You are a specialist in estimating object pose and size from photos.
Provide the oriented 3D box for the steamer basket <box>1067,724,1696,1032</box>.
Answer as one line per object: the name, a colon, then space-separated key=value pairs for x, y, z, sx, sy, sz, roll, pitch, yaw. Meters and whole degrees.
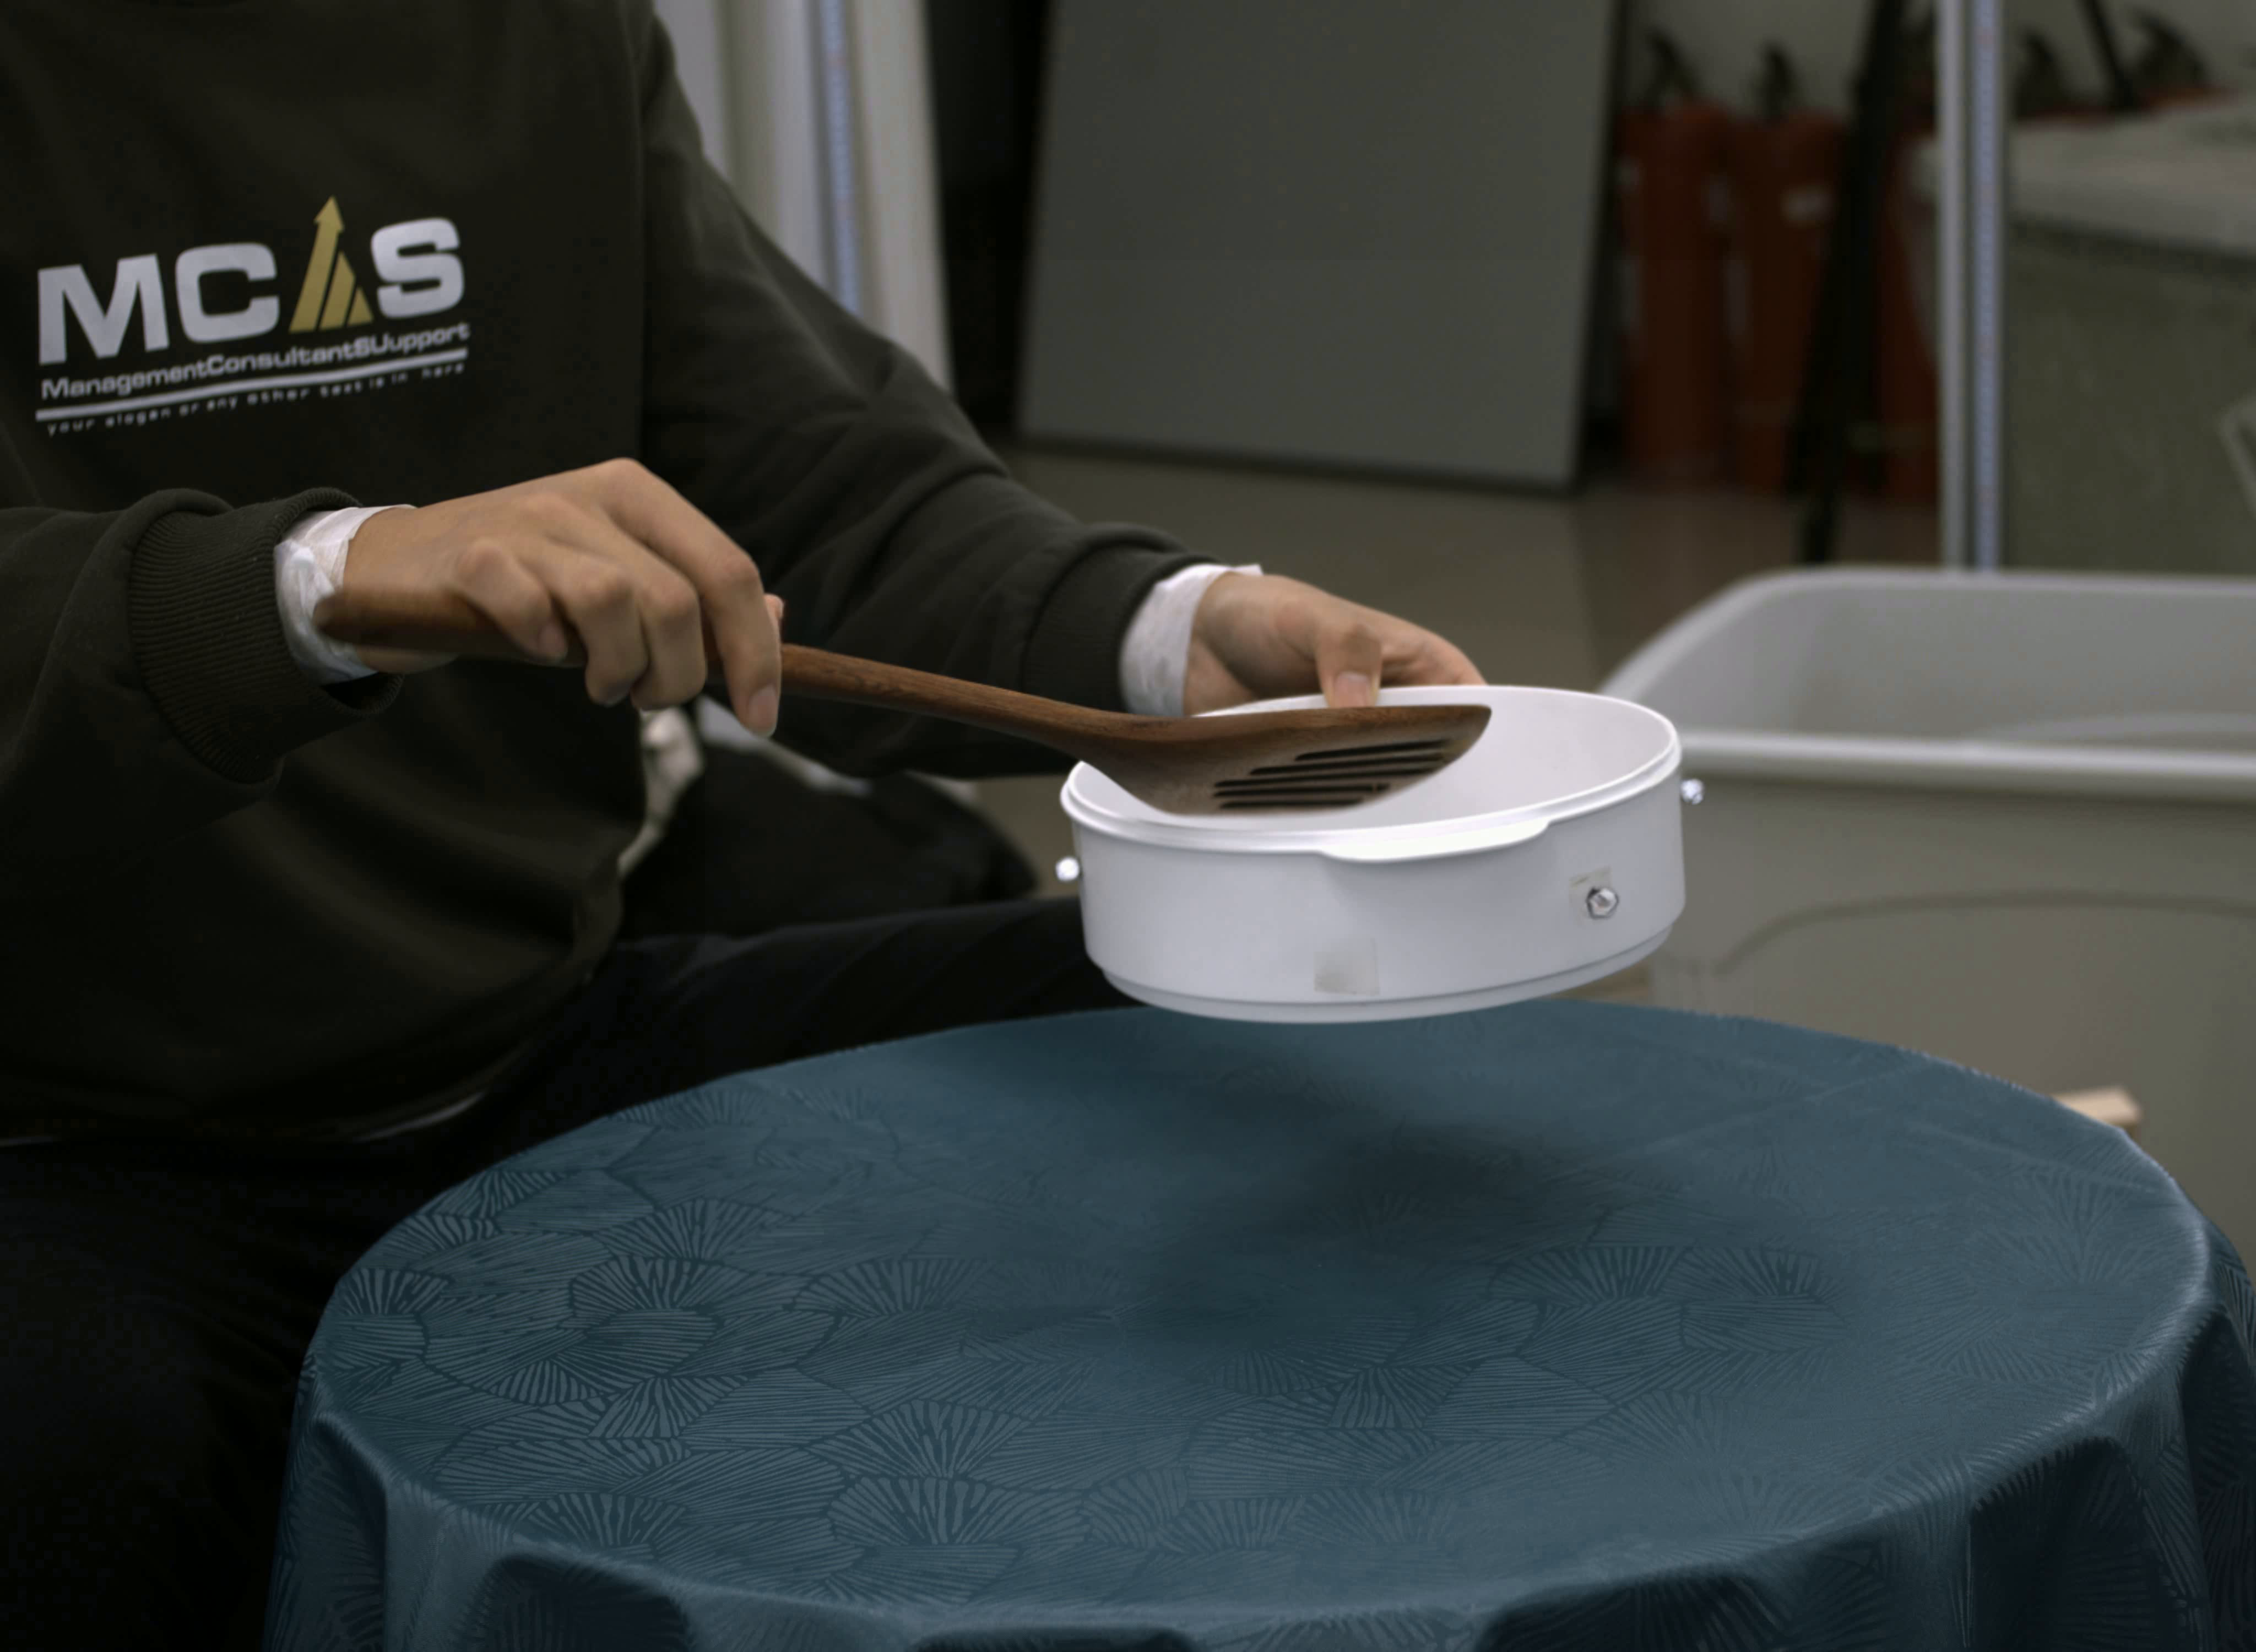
steamer basket: x=0.083 y=0.017 z=1.709 sx=0.199 sy=0.070 sz=0.231 roll=-8 pitch=9 yaw=-6

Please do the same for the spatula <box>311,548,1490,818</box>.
spatula: x=-0.062 y=-0.041 z=1.592 sx=0.376 sy=0.024 sz=0.086 roll=11 pitch=-32 yaw=-29
